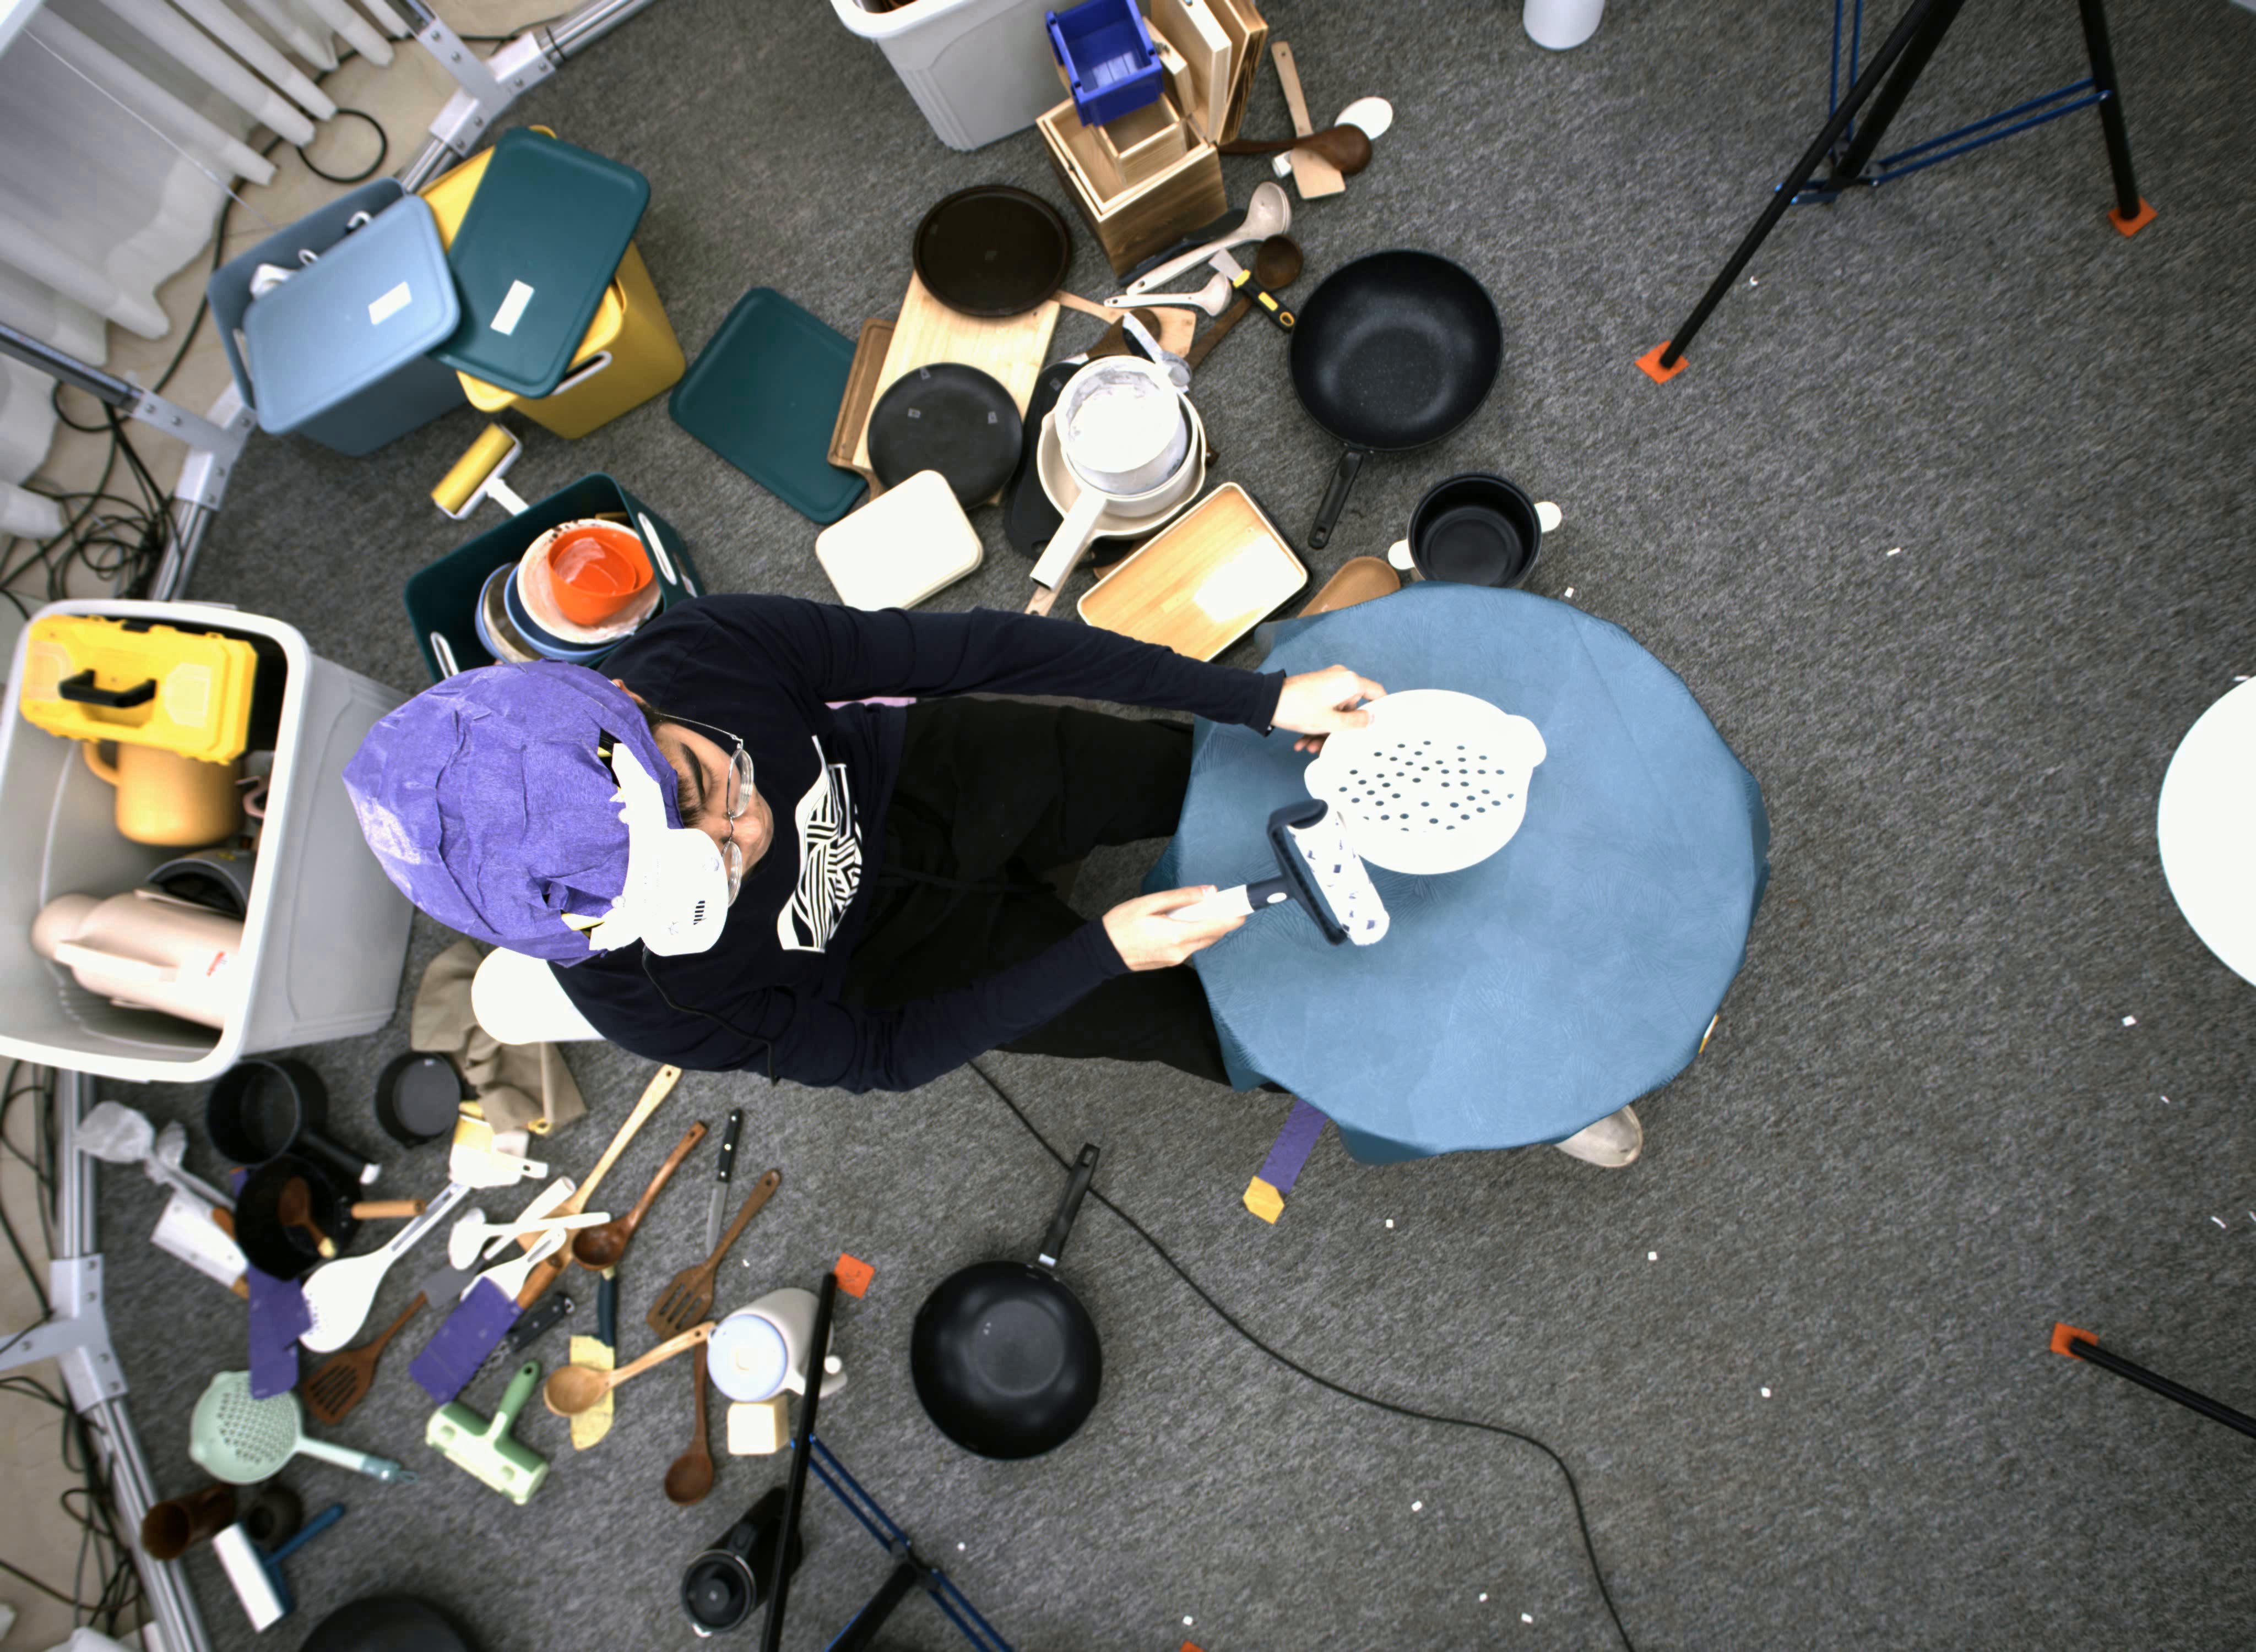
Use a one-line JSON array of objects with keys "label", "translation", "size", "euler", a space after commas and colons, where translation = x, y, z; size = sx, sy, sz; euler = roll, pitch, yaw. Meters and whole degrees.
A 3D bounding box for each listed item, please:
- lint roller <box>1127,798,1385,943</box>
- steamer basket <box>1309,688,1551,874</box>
[{"label": "lint roller", "translation": [0.111, 0.075, 1.368], "size": [0.250, 0.179, 0.049], "euler": [-20, 39, 21]}, {"label": "steamer basket", "translation": [0.294, -0.046, 1.336], "size": [0.231, 0.071, 0.197], "euler": [-14, 47, 5]}]
